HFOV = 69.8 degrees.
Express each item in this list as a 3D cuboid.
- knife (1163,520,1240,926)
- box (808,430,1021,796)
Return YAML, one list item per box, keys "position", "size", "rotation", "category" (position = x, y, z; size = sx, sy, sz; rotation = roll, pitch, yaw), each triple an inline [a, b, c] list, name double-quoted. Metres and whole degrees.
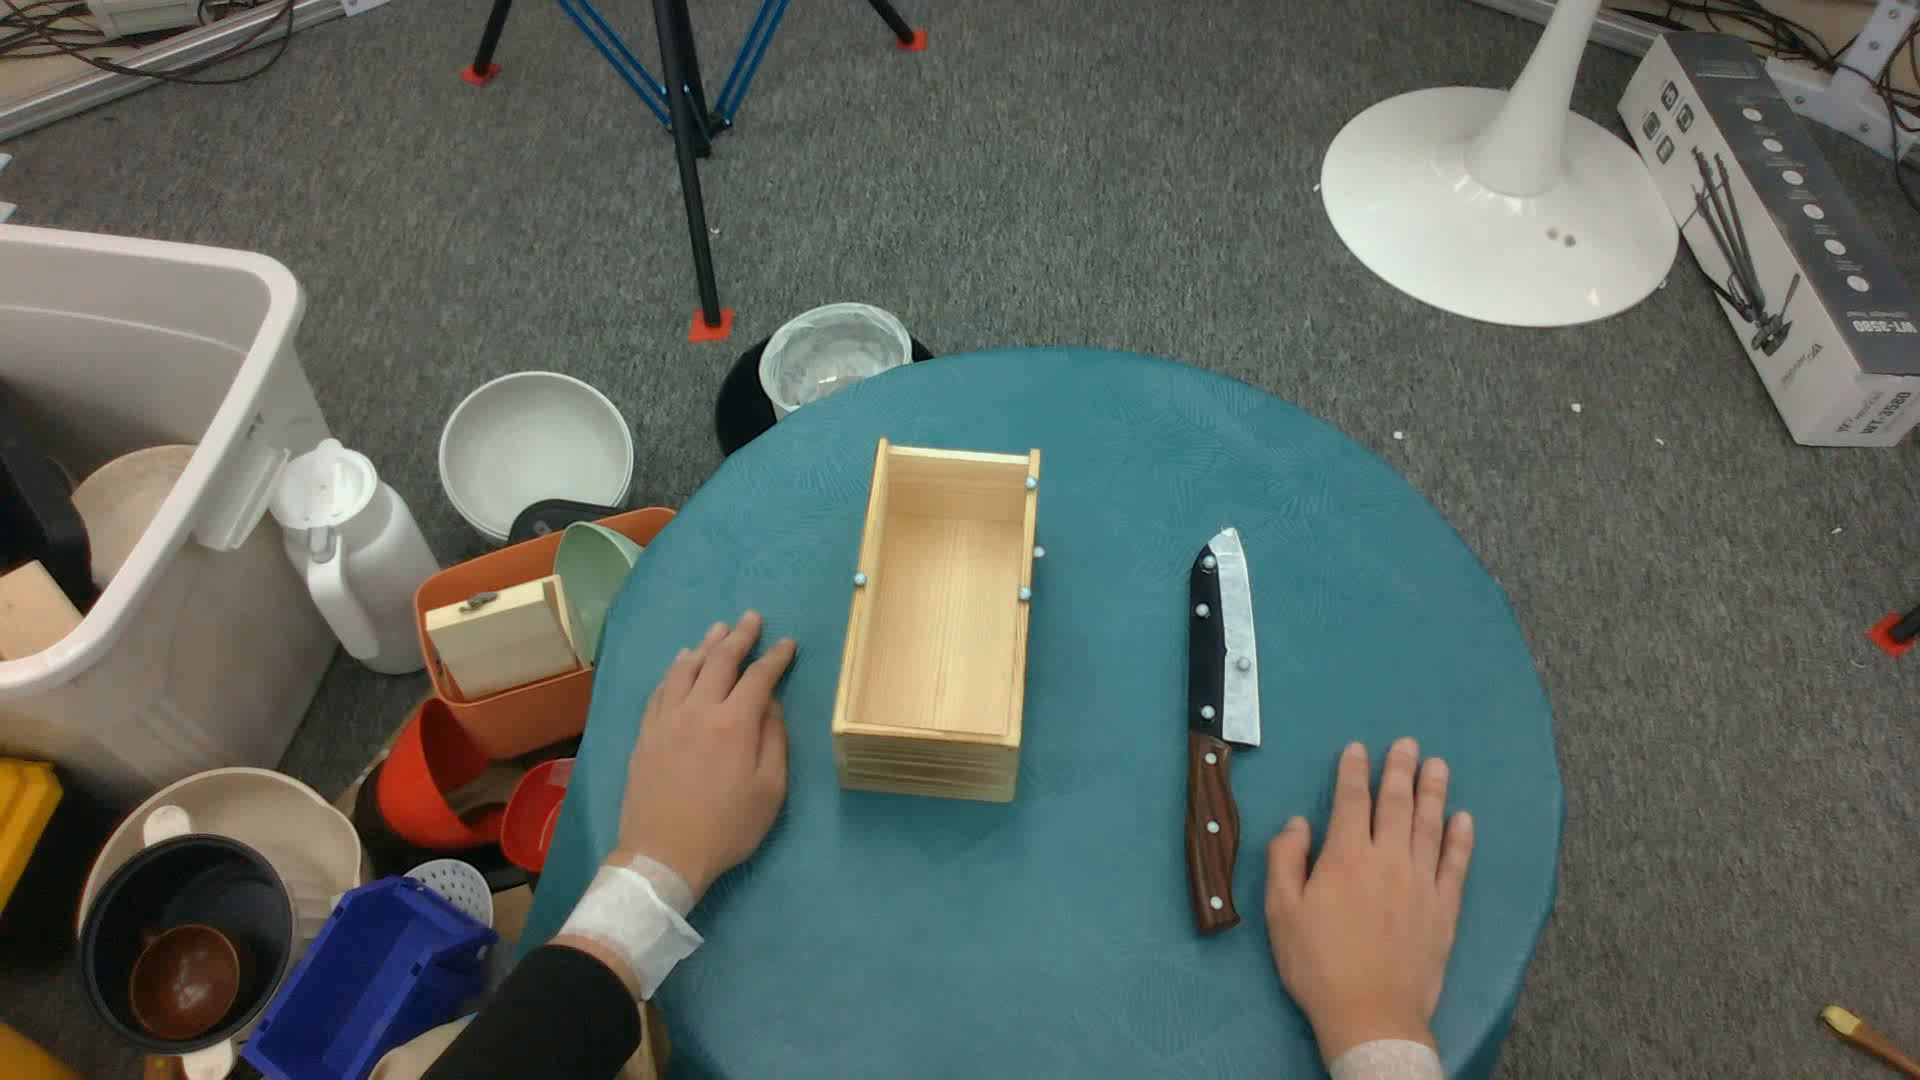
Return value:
- position: [0.149, 0.100, 0.852]
  size: [0.050, 0.020, 0.290]
  rotation: [11, 53, 0]
  category: "knife"
- position: [-0.023, 0.041, 0.848]
  size: [0.107, 0.080, 0.212]
  rotation: [4, 55, 2]
  category: "box"
